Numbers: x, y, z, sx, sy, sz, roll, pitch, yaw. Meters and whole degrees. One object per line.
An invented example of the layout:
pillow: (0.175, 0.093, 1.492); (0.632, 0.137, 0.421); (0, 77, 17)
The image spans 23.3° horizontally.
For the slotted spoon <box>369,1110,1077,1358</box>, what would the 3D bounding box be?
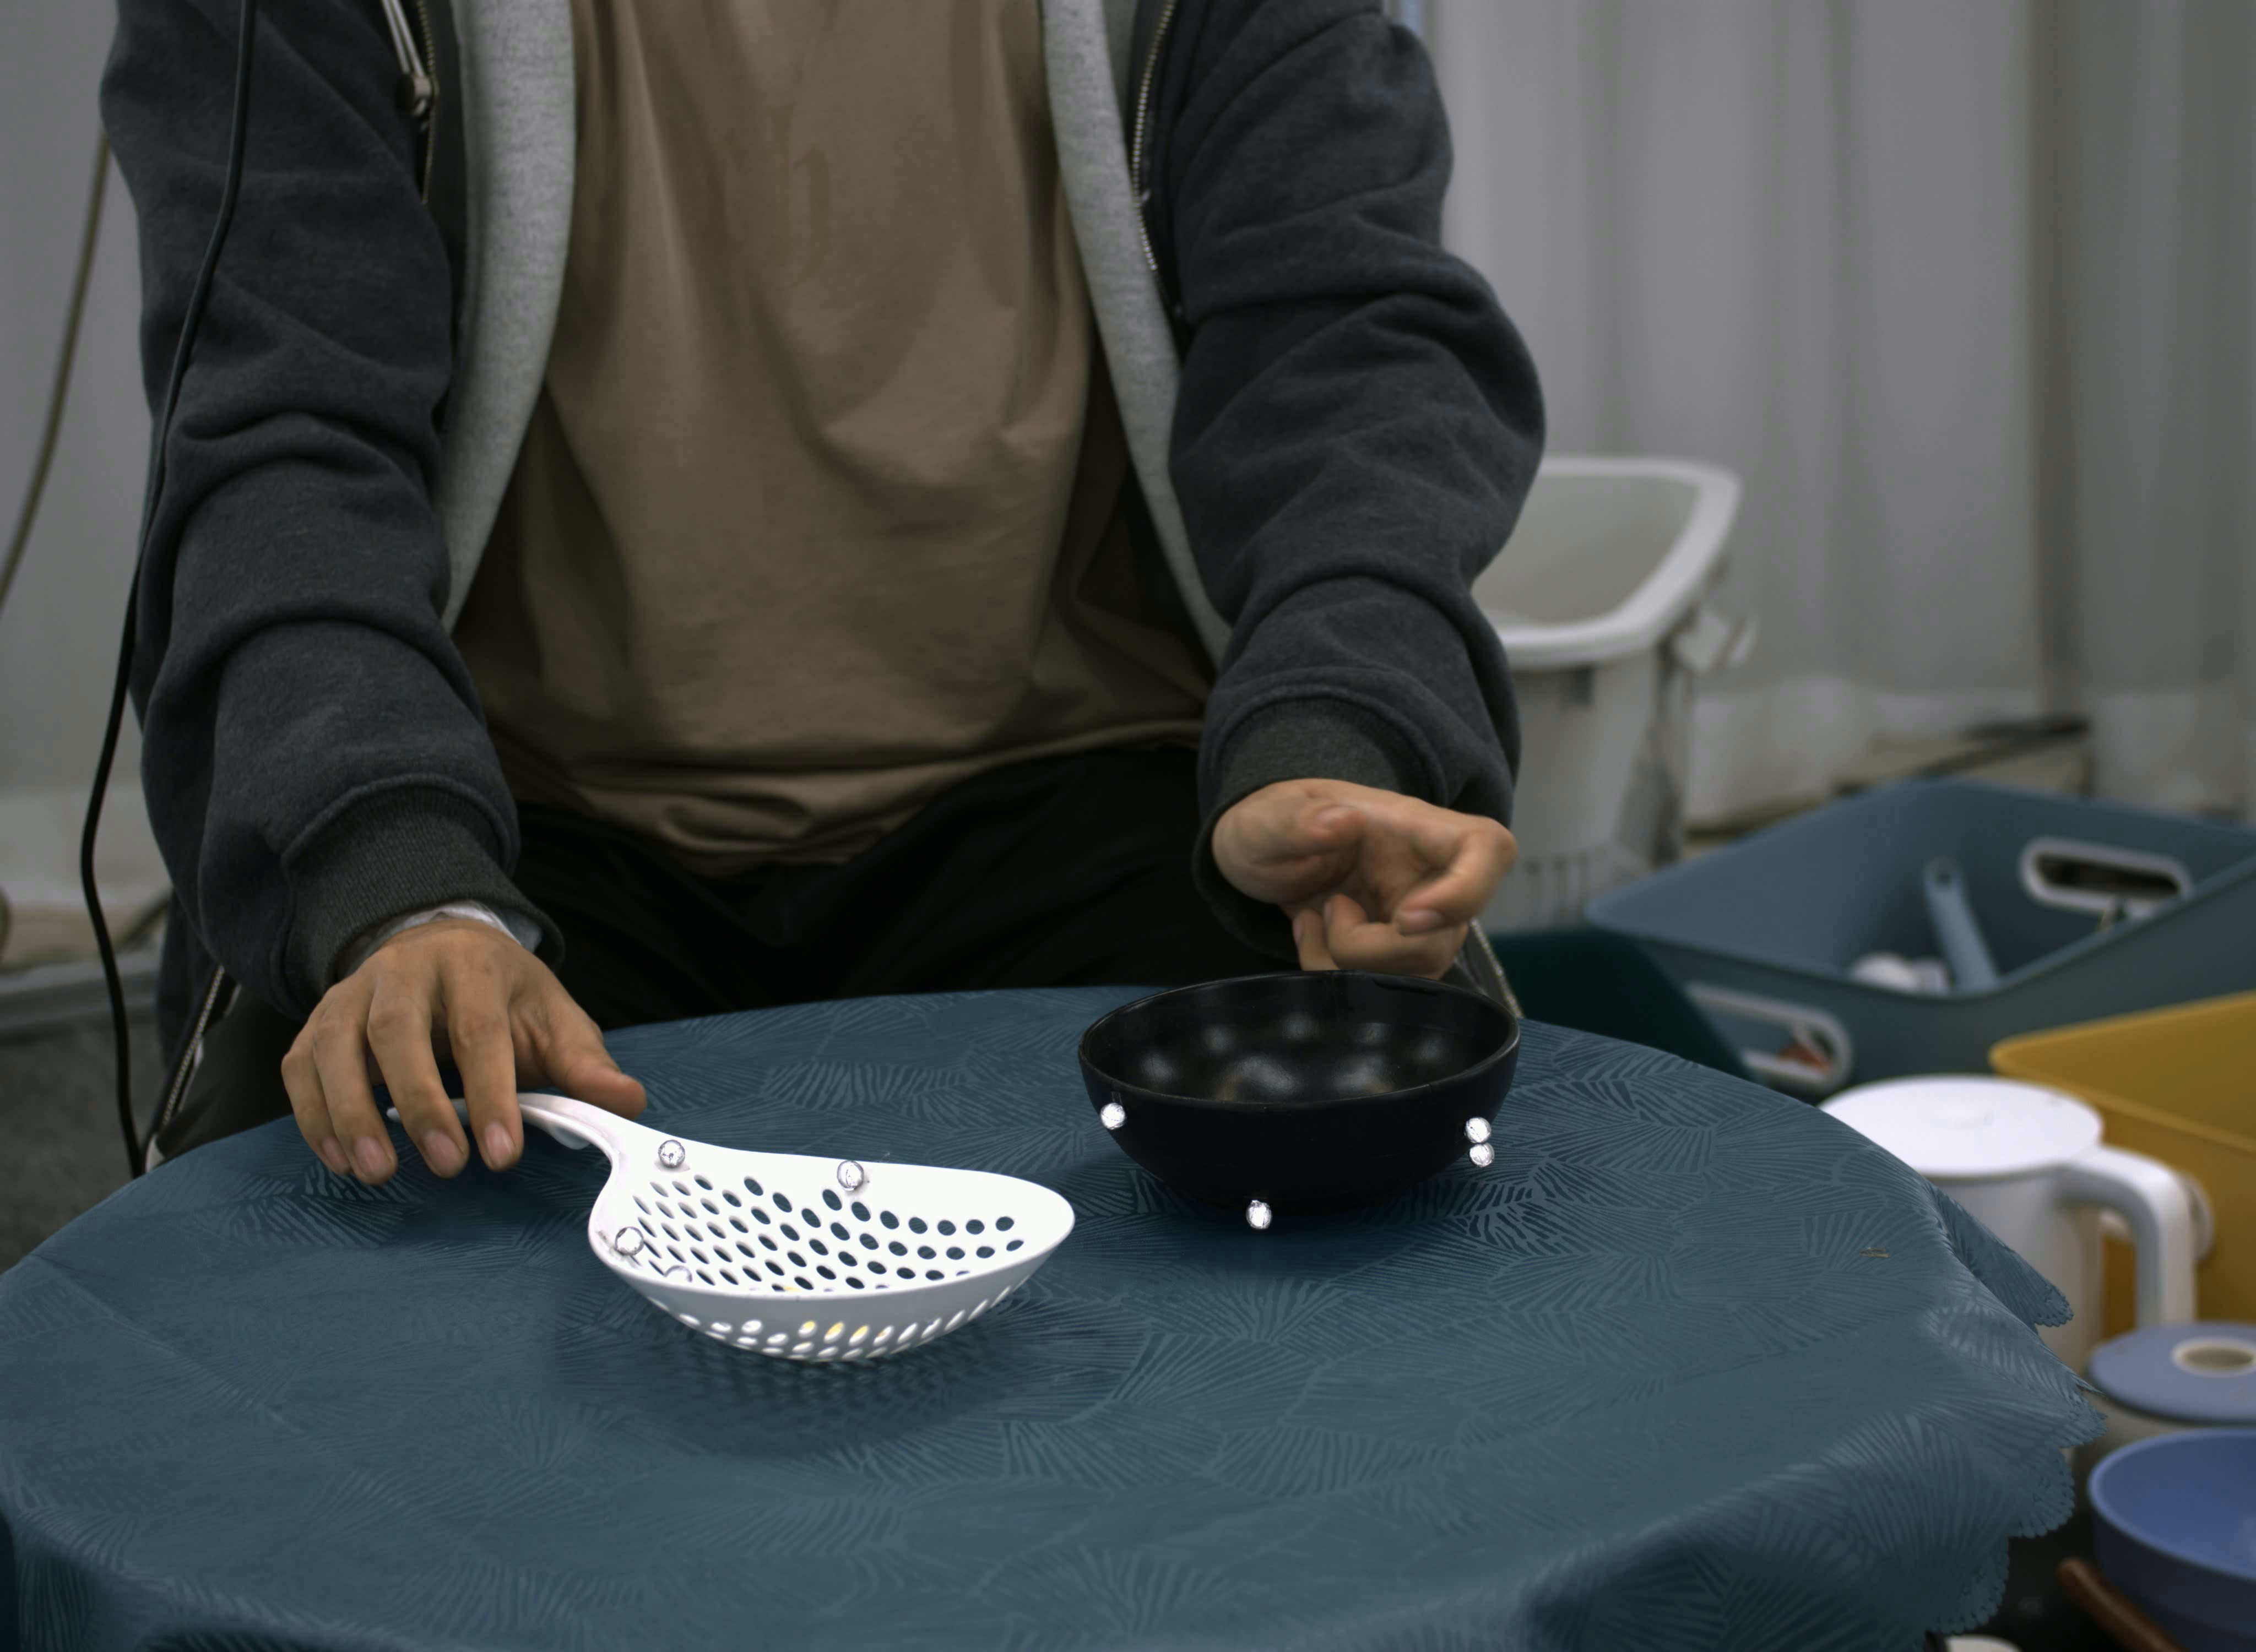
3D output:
slotted spoon: (-0.144, 0.112, 1.678); (0.136, 0.050, 0.350); (-14, 18, -32)
